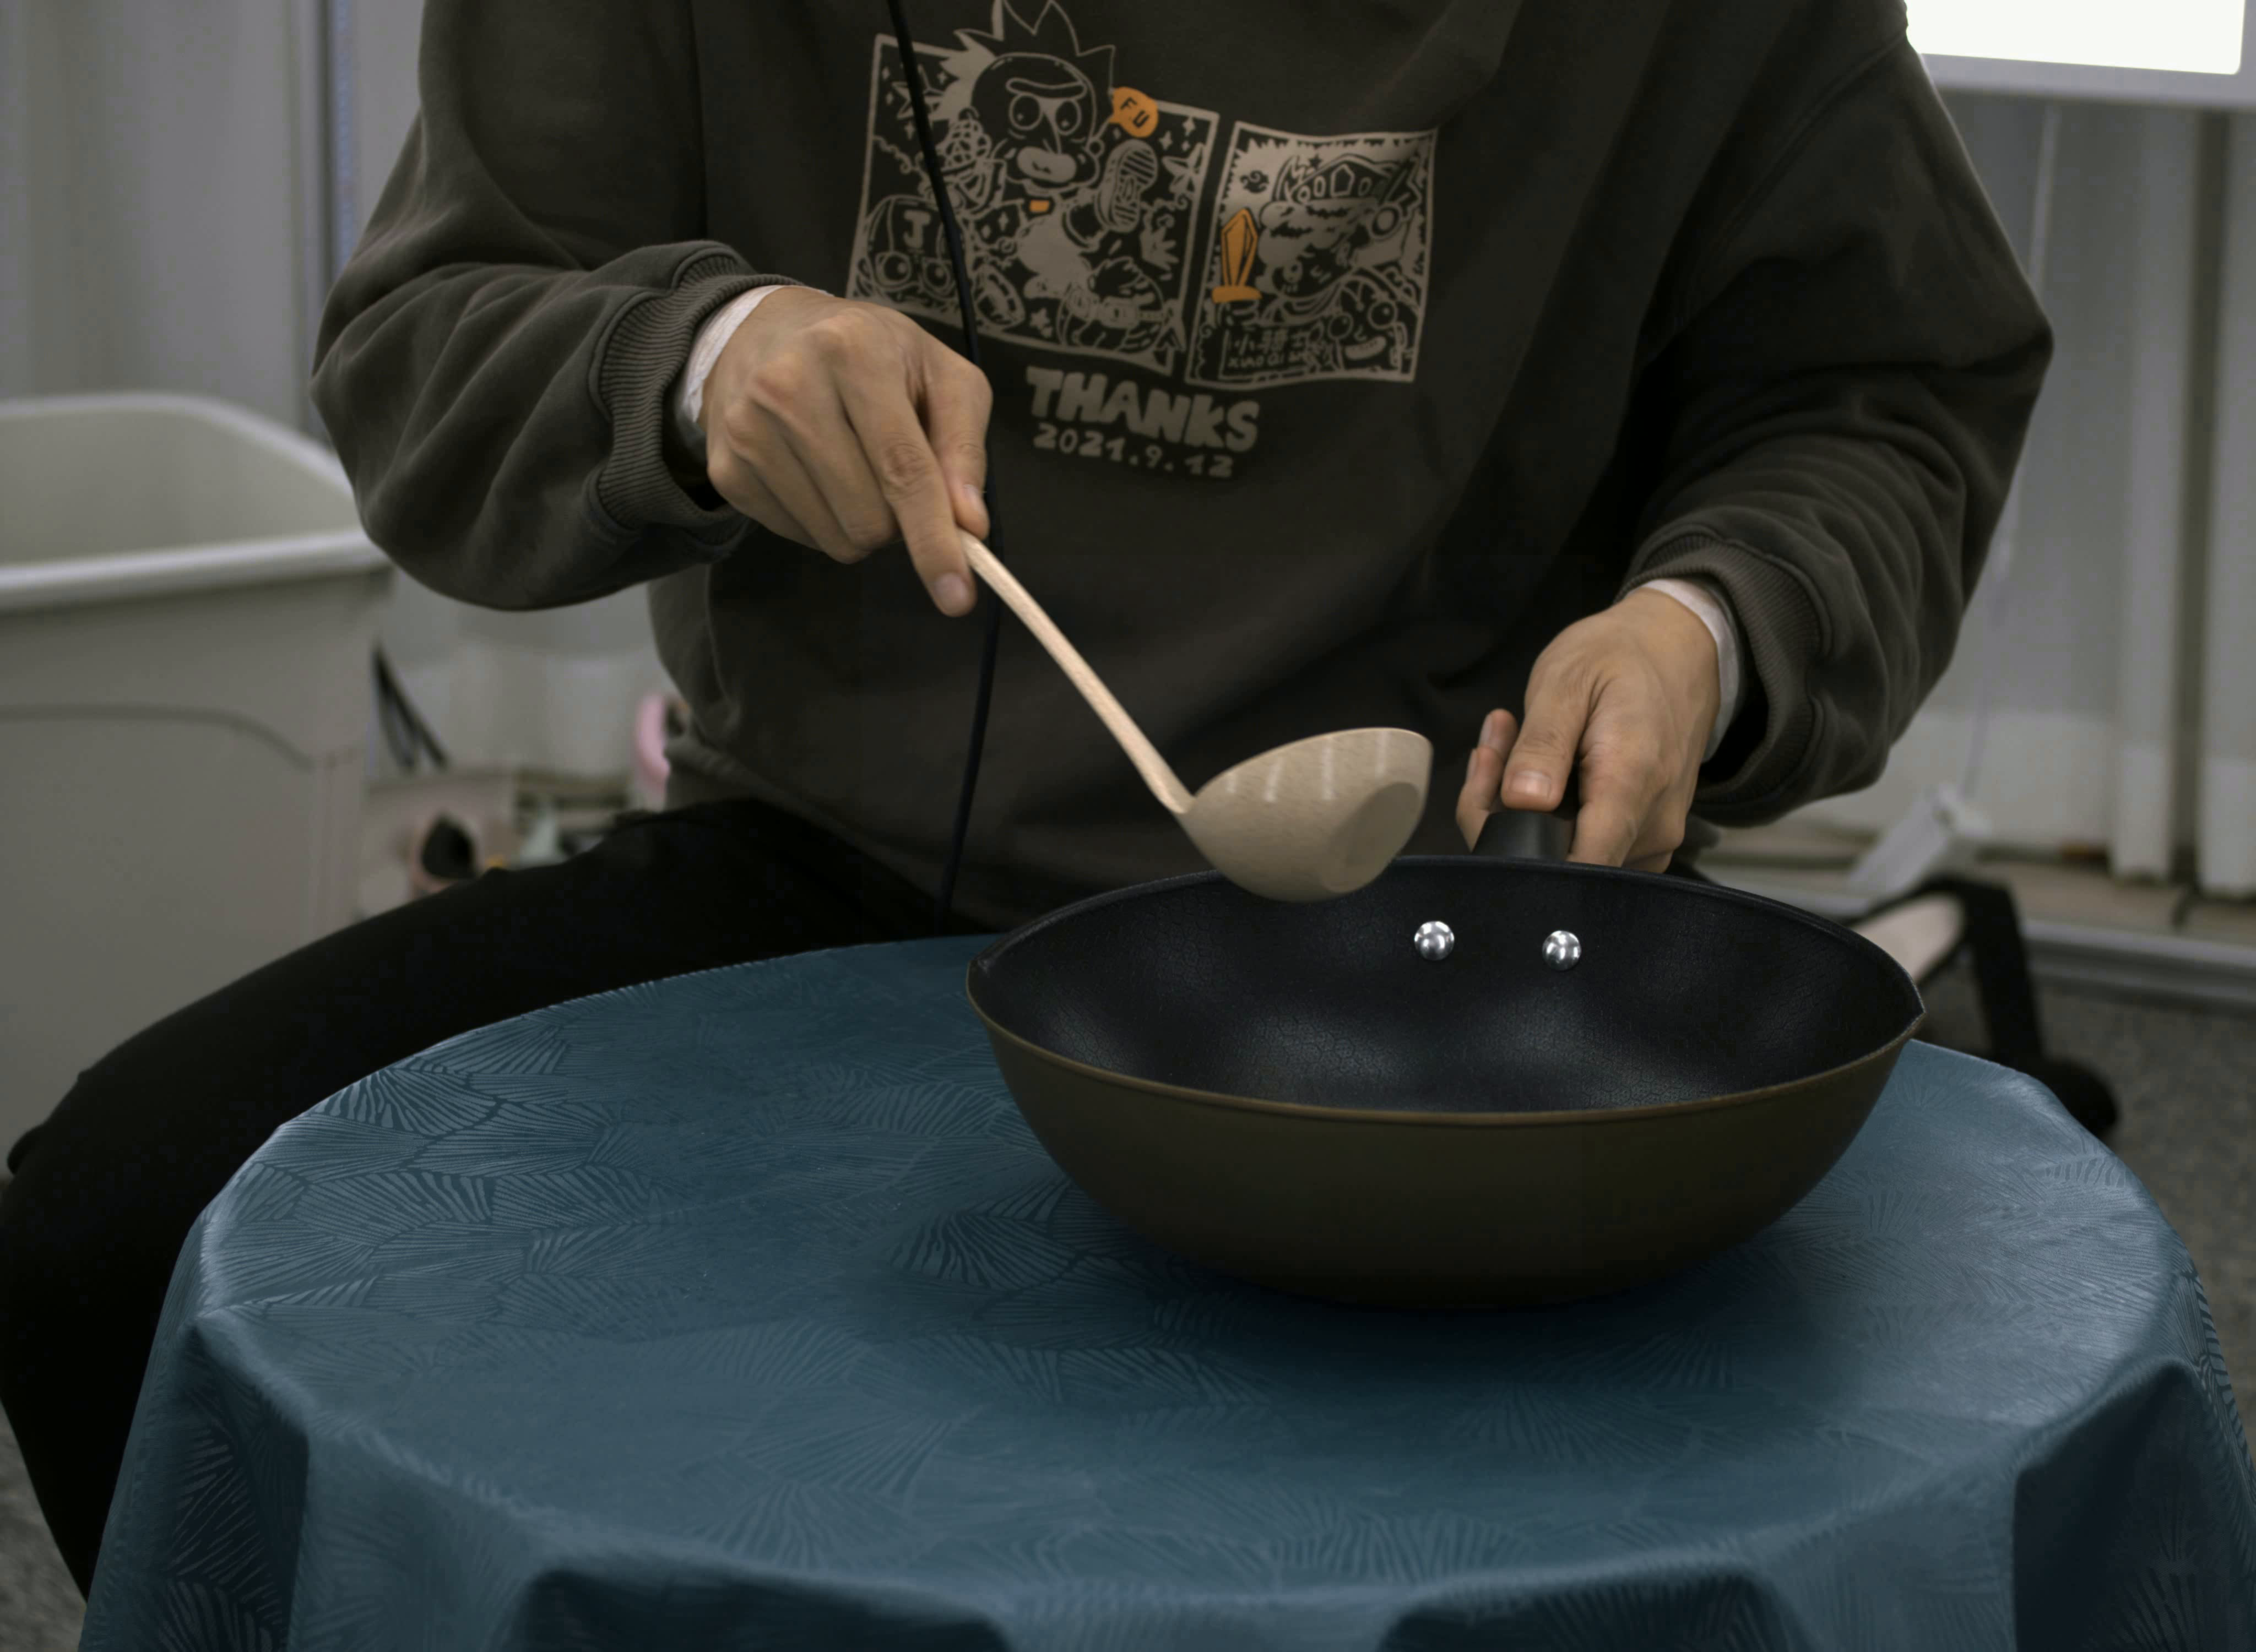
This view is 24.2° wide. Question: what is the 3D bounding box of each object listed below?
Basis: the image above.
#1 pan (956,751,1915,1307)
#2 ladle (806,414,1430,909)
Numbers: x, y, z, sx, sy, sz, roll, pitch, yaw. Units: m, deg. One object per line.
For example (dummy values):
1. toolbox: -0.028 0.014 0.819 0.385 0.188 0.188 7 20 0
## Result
1. pan: 0.109 0.061 1.668 0.286 0.087 0.463 3 14 11
2. ladle: -0.004 -0.074 1.610 0.251 0.073 0.073 48 19 26
